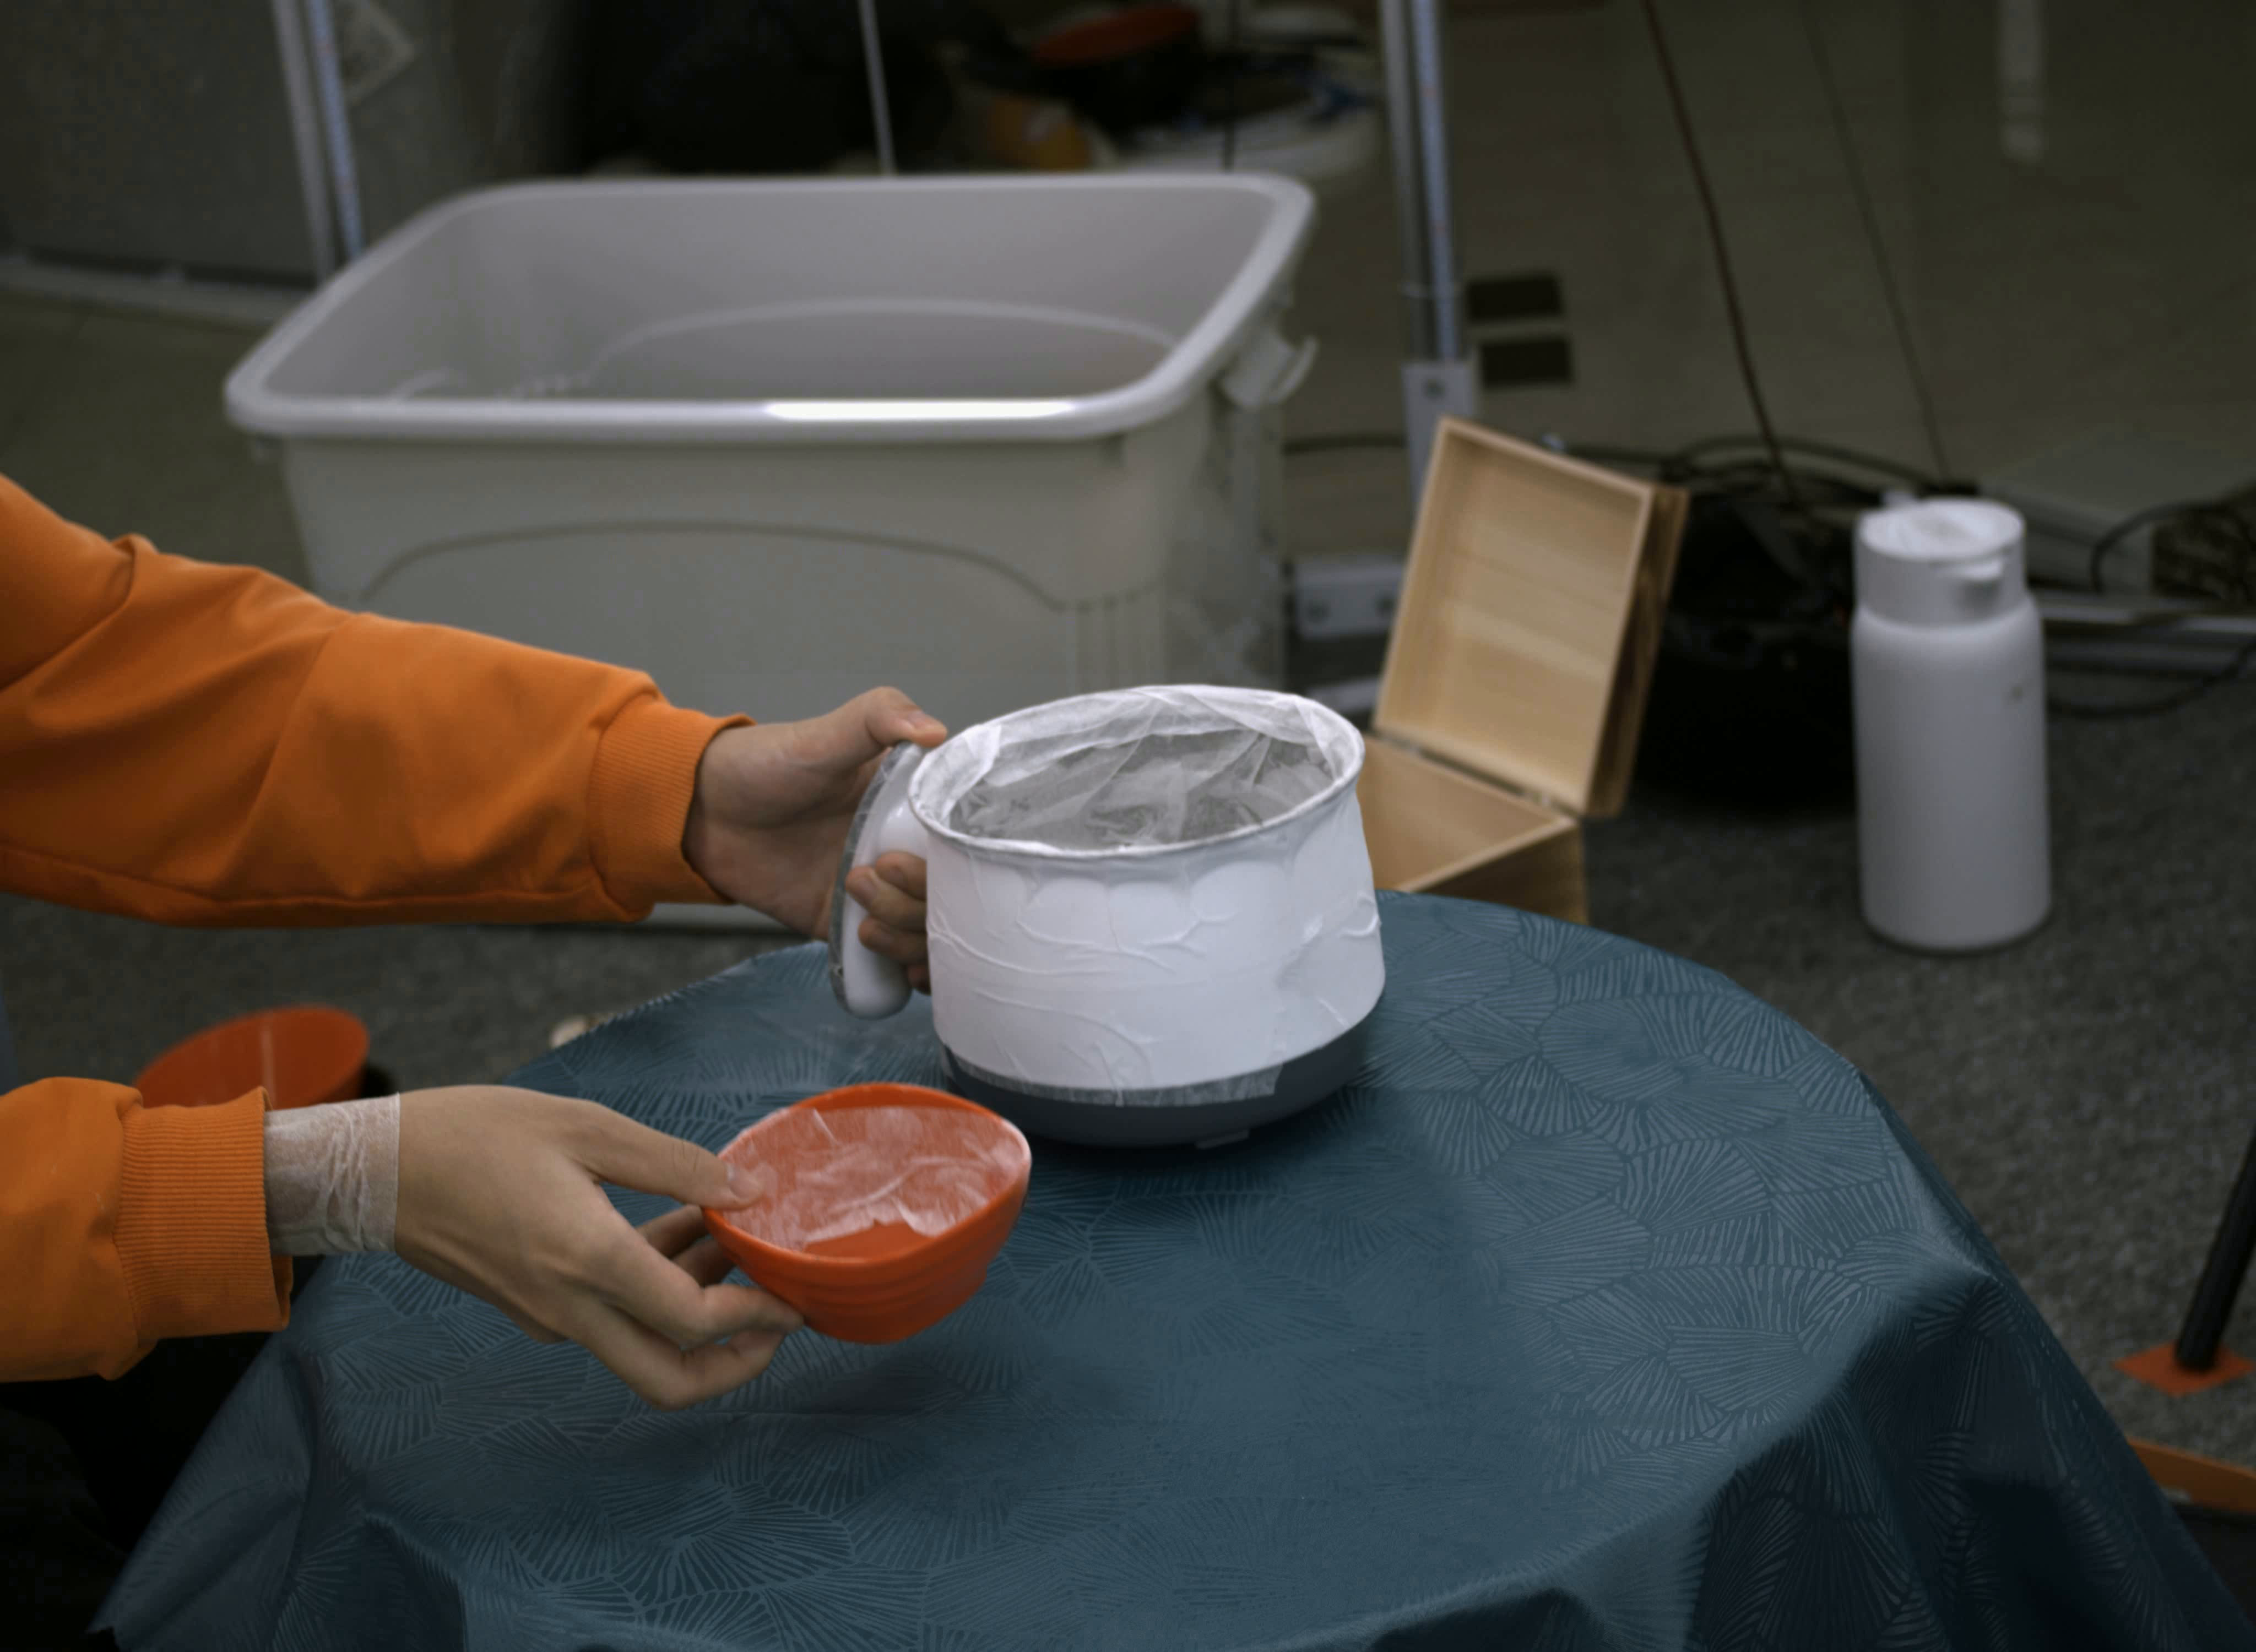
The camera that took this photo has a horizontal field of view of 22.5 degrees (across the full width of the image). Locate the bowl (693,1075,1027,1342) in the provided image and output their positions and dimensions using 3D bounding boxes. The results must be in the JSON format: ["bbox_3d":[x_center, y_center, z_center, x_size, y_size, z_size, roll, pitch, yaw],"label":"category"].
[{"bbox_3d":[-0.092,0.140,2.009,0.119,0.052,0.117,-5,31,3],"label":"bowl"}]

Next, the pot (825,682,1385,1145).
[{"bbox_3d":[-0.016,0.033,2.203,0.233,0.138,0.176,5,24,26],"label":"pot"}]
